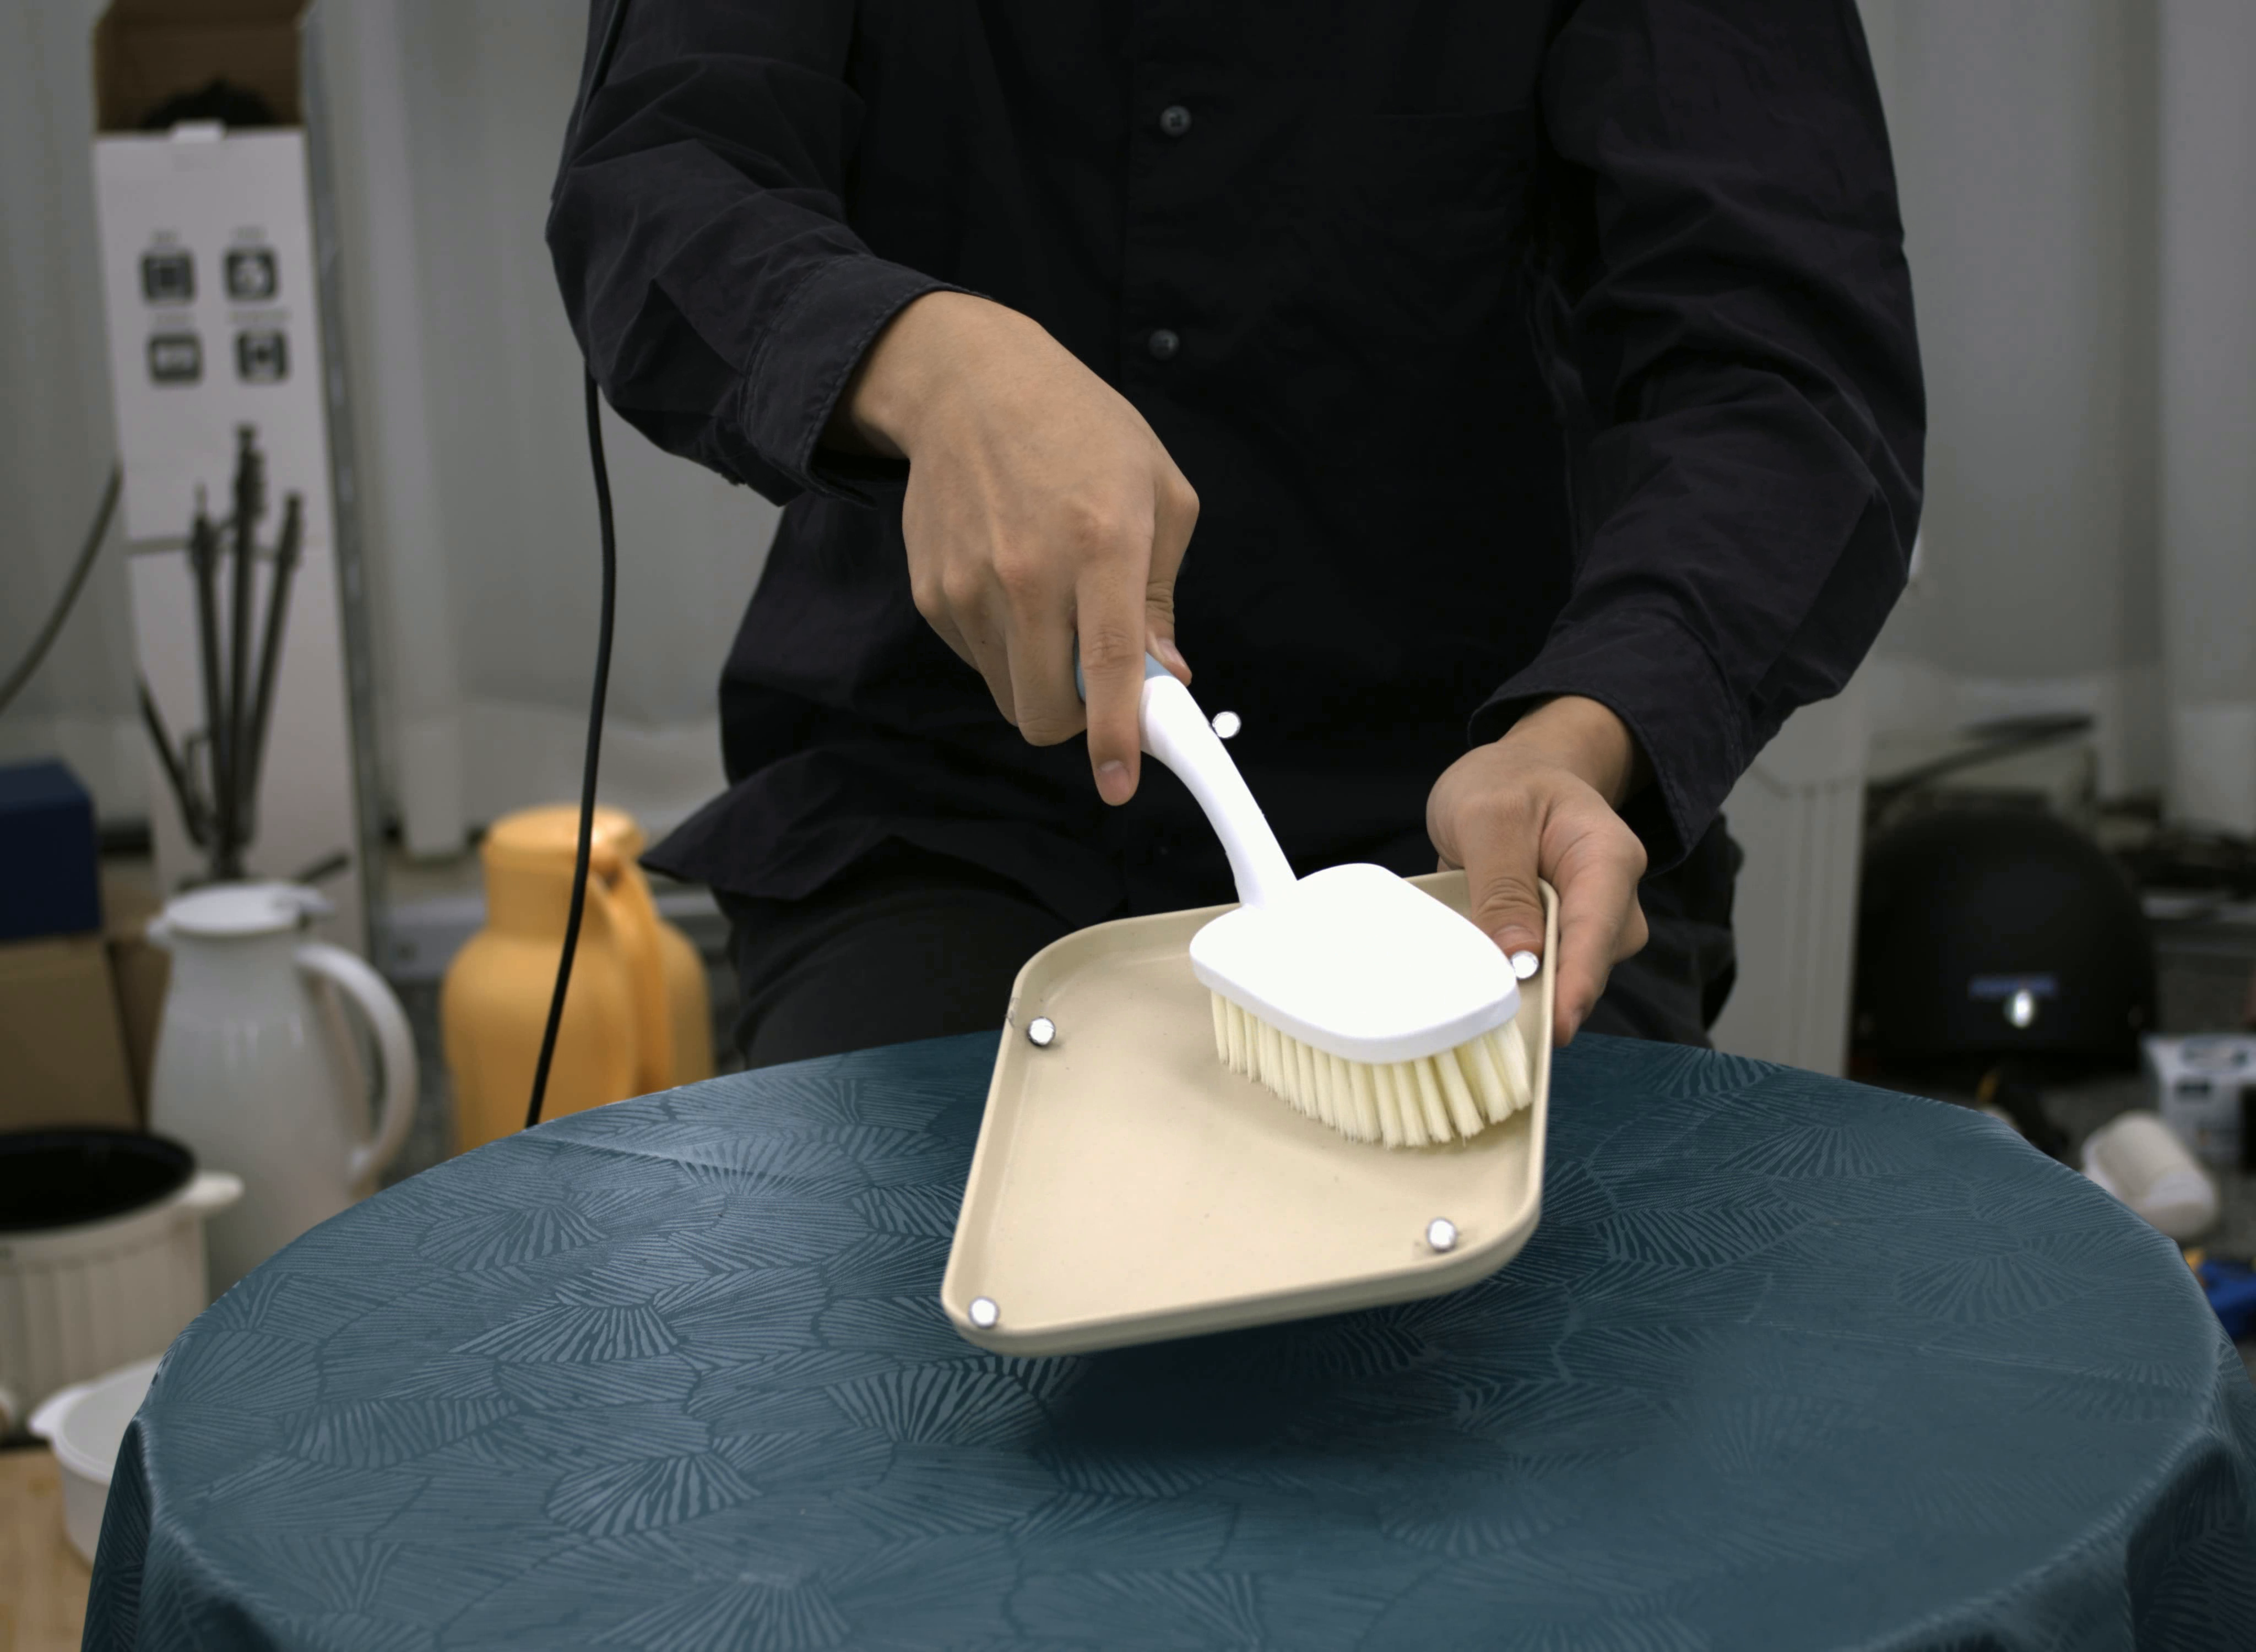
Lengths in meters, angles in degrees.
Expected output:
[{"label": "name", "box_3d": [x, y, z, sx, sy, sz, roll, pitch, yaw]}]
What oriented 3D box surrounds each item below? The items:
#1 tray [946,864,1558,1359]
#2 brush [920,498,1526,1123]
[{"label": "tray", "box_3d": [0.041, 0.081, 1.582, 0.171, 0.017, 0.242, -9, 25, 11]}, {"label": "brush", "box_3d": [0.026, 0.003, 1.668, 0.082, 0.084, 0.329, 14, 19, -38]}]
